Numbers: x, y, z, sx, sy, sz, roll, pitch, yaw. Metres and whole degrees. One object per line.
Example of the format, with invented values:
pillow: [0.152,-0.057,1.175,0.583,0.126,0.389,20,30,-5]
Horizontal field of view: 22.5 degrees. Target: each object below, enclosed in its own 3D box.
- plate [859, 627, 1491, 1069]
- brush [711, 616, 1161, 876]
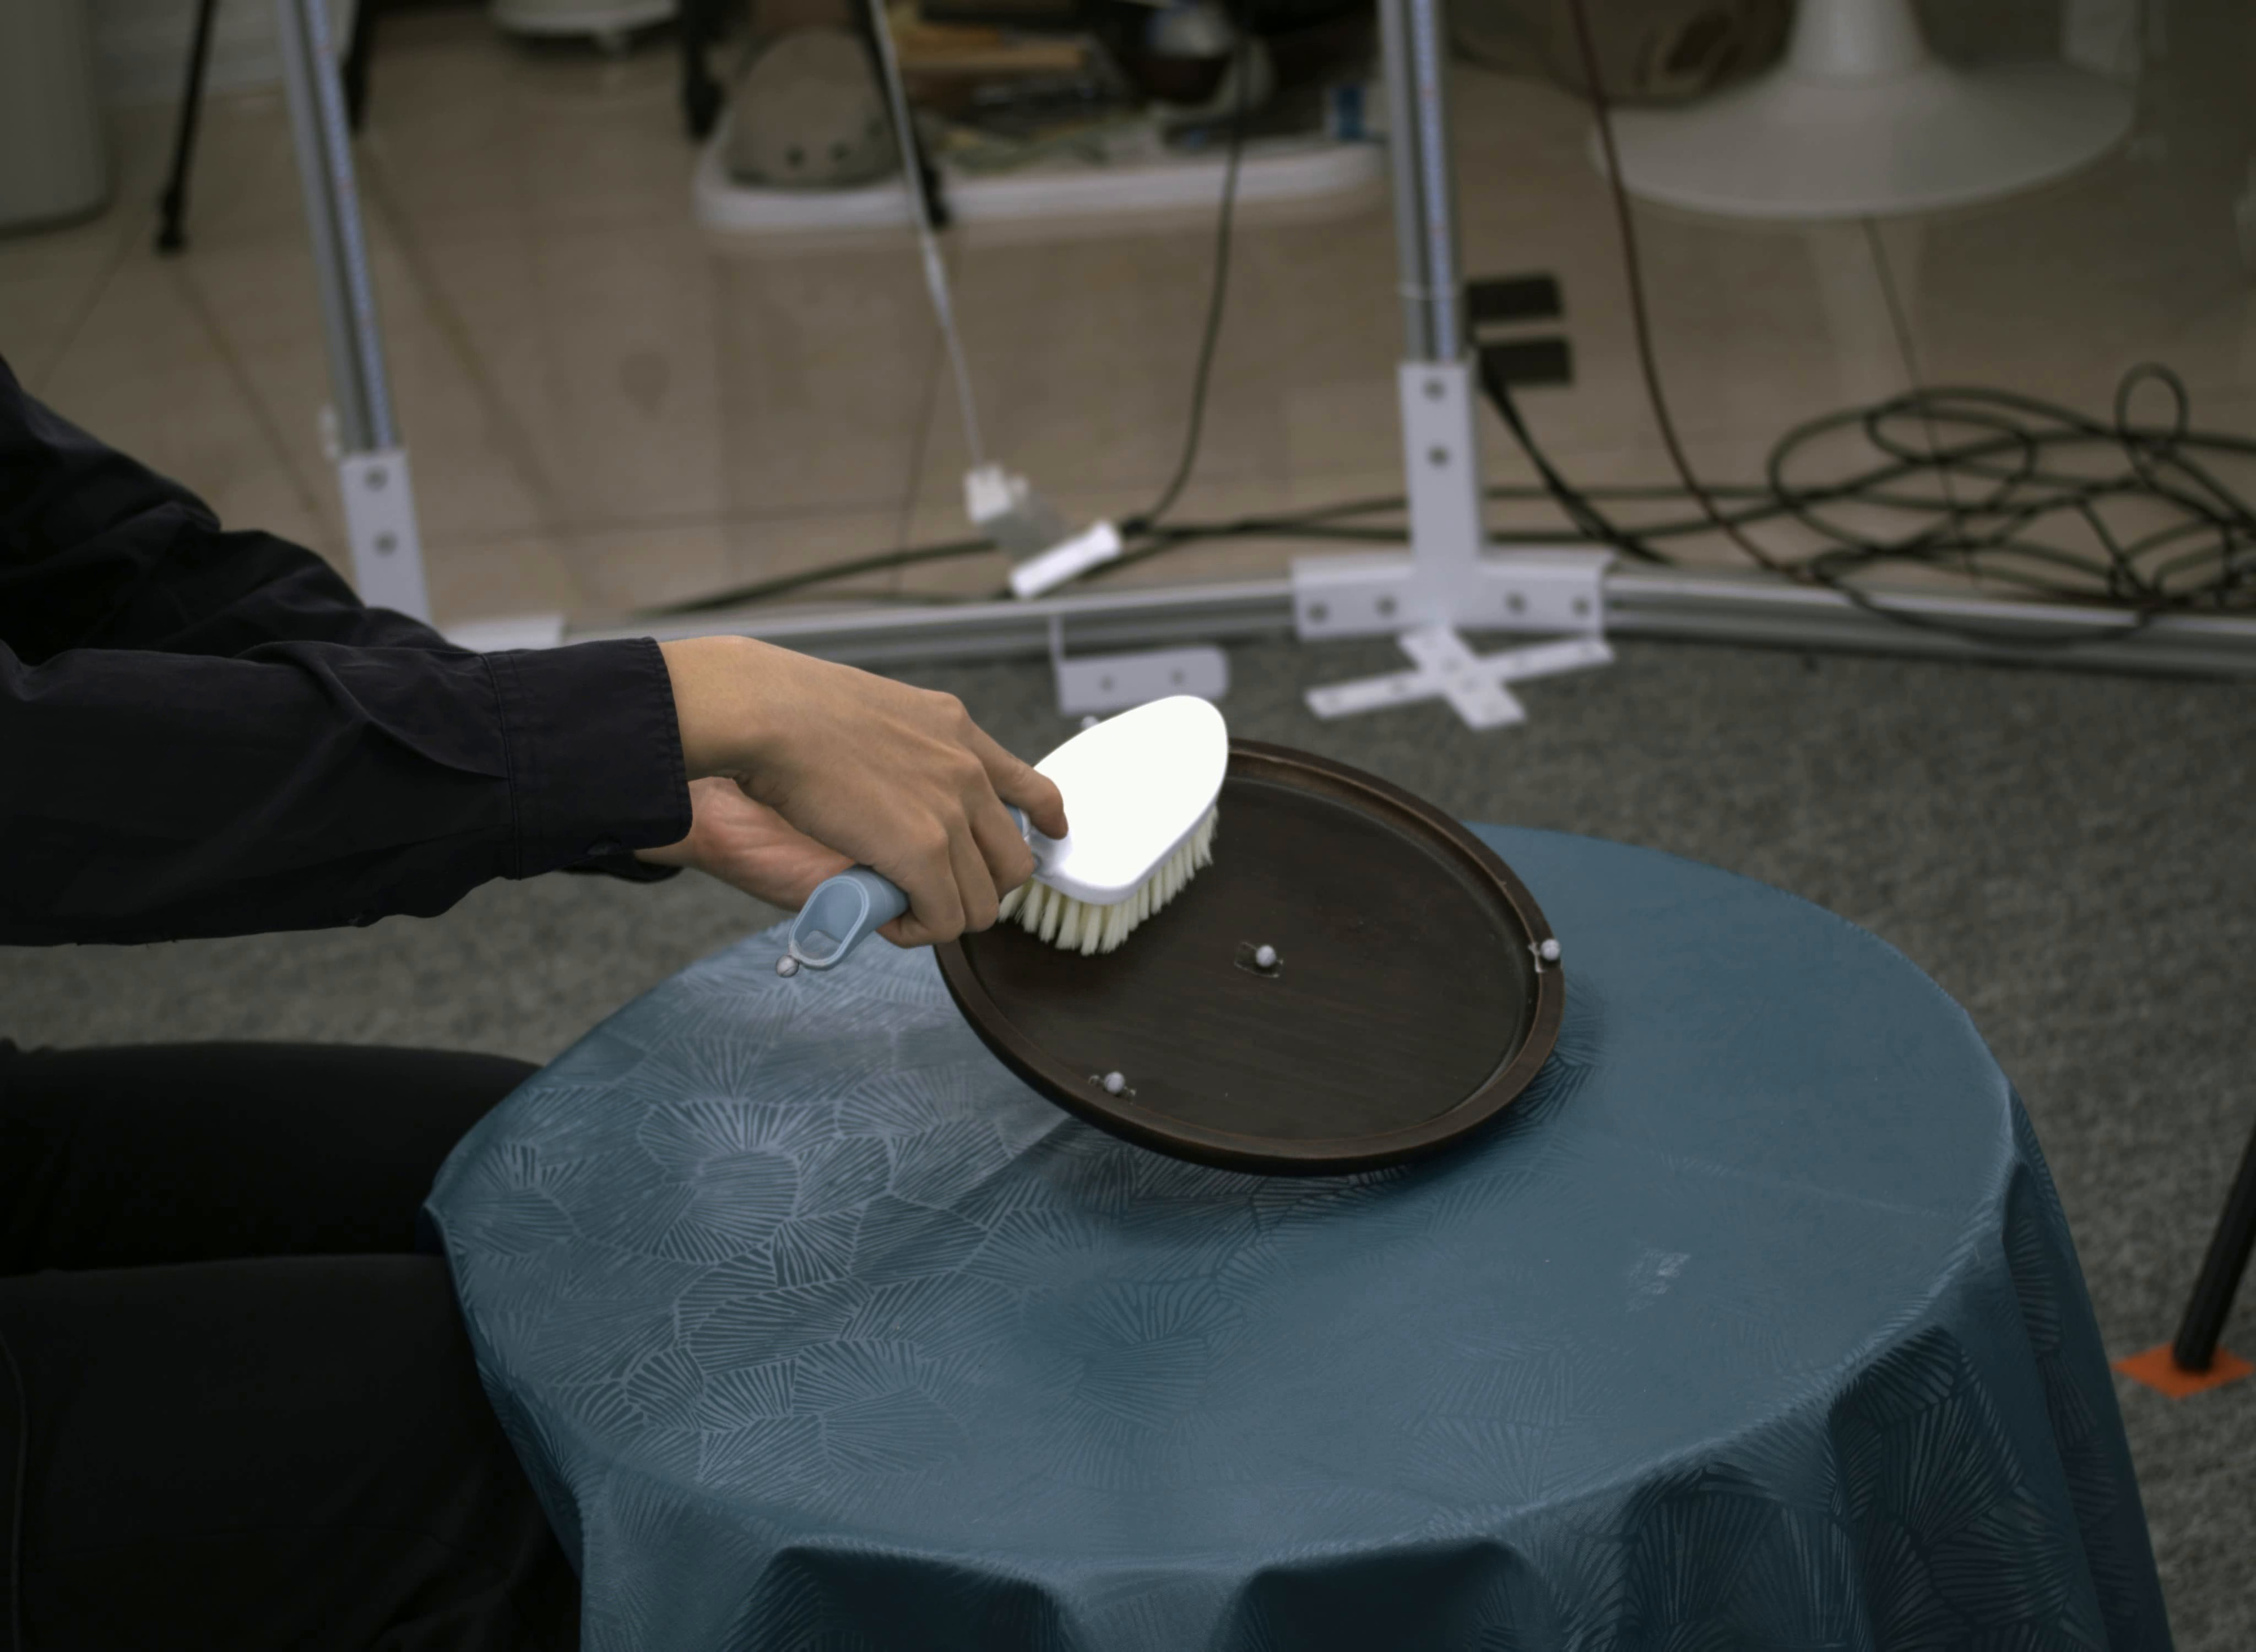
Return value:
plate: [0.018,0.008,2.236,0.254,0.029,0.250,7,42,-7]
brush: [-0.081,-0.009,2.158,0.083,0.085,0.322,-10,11,30]
